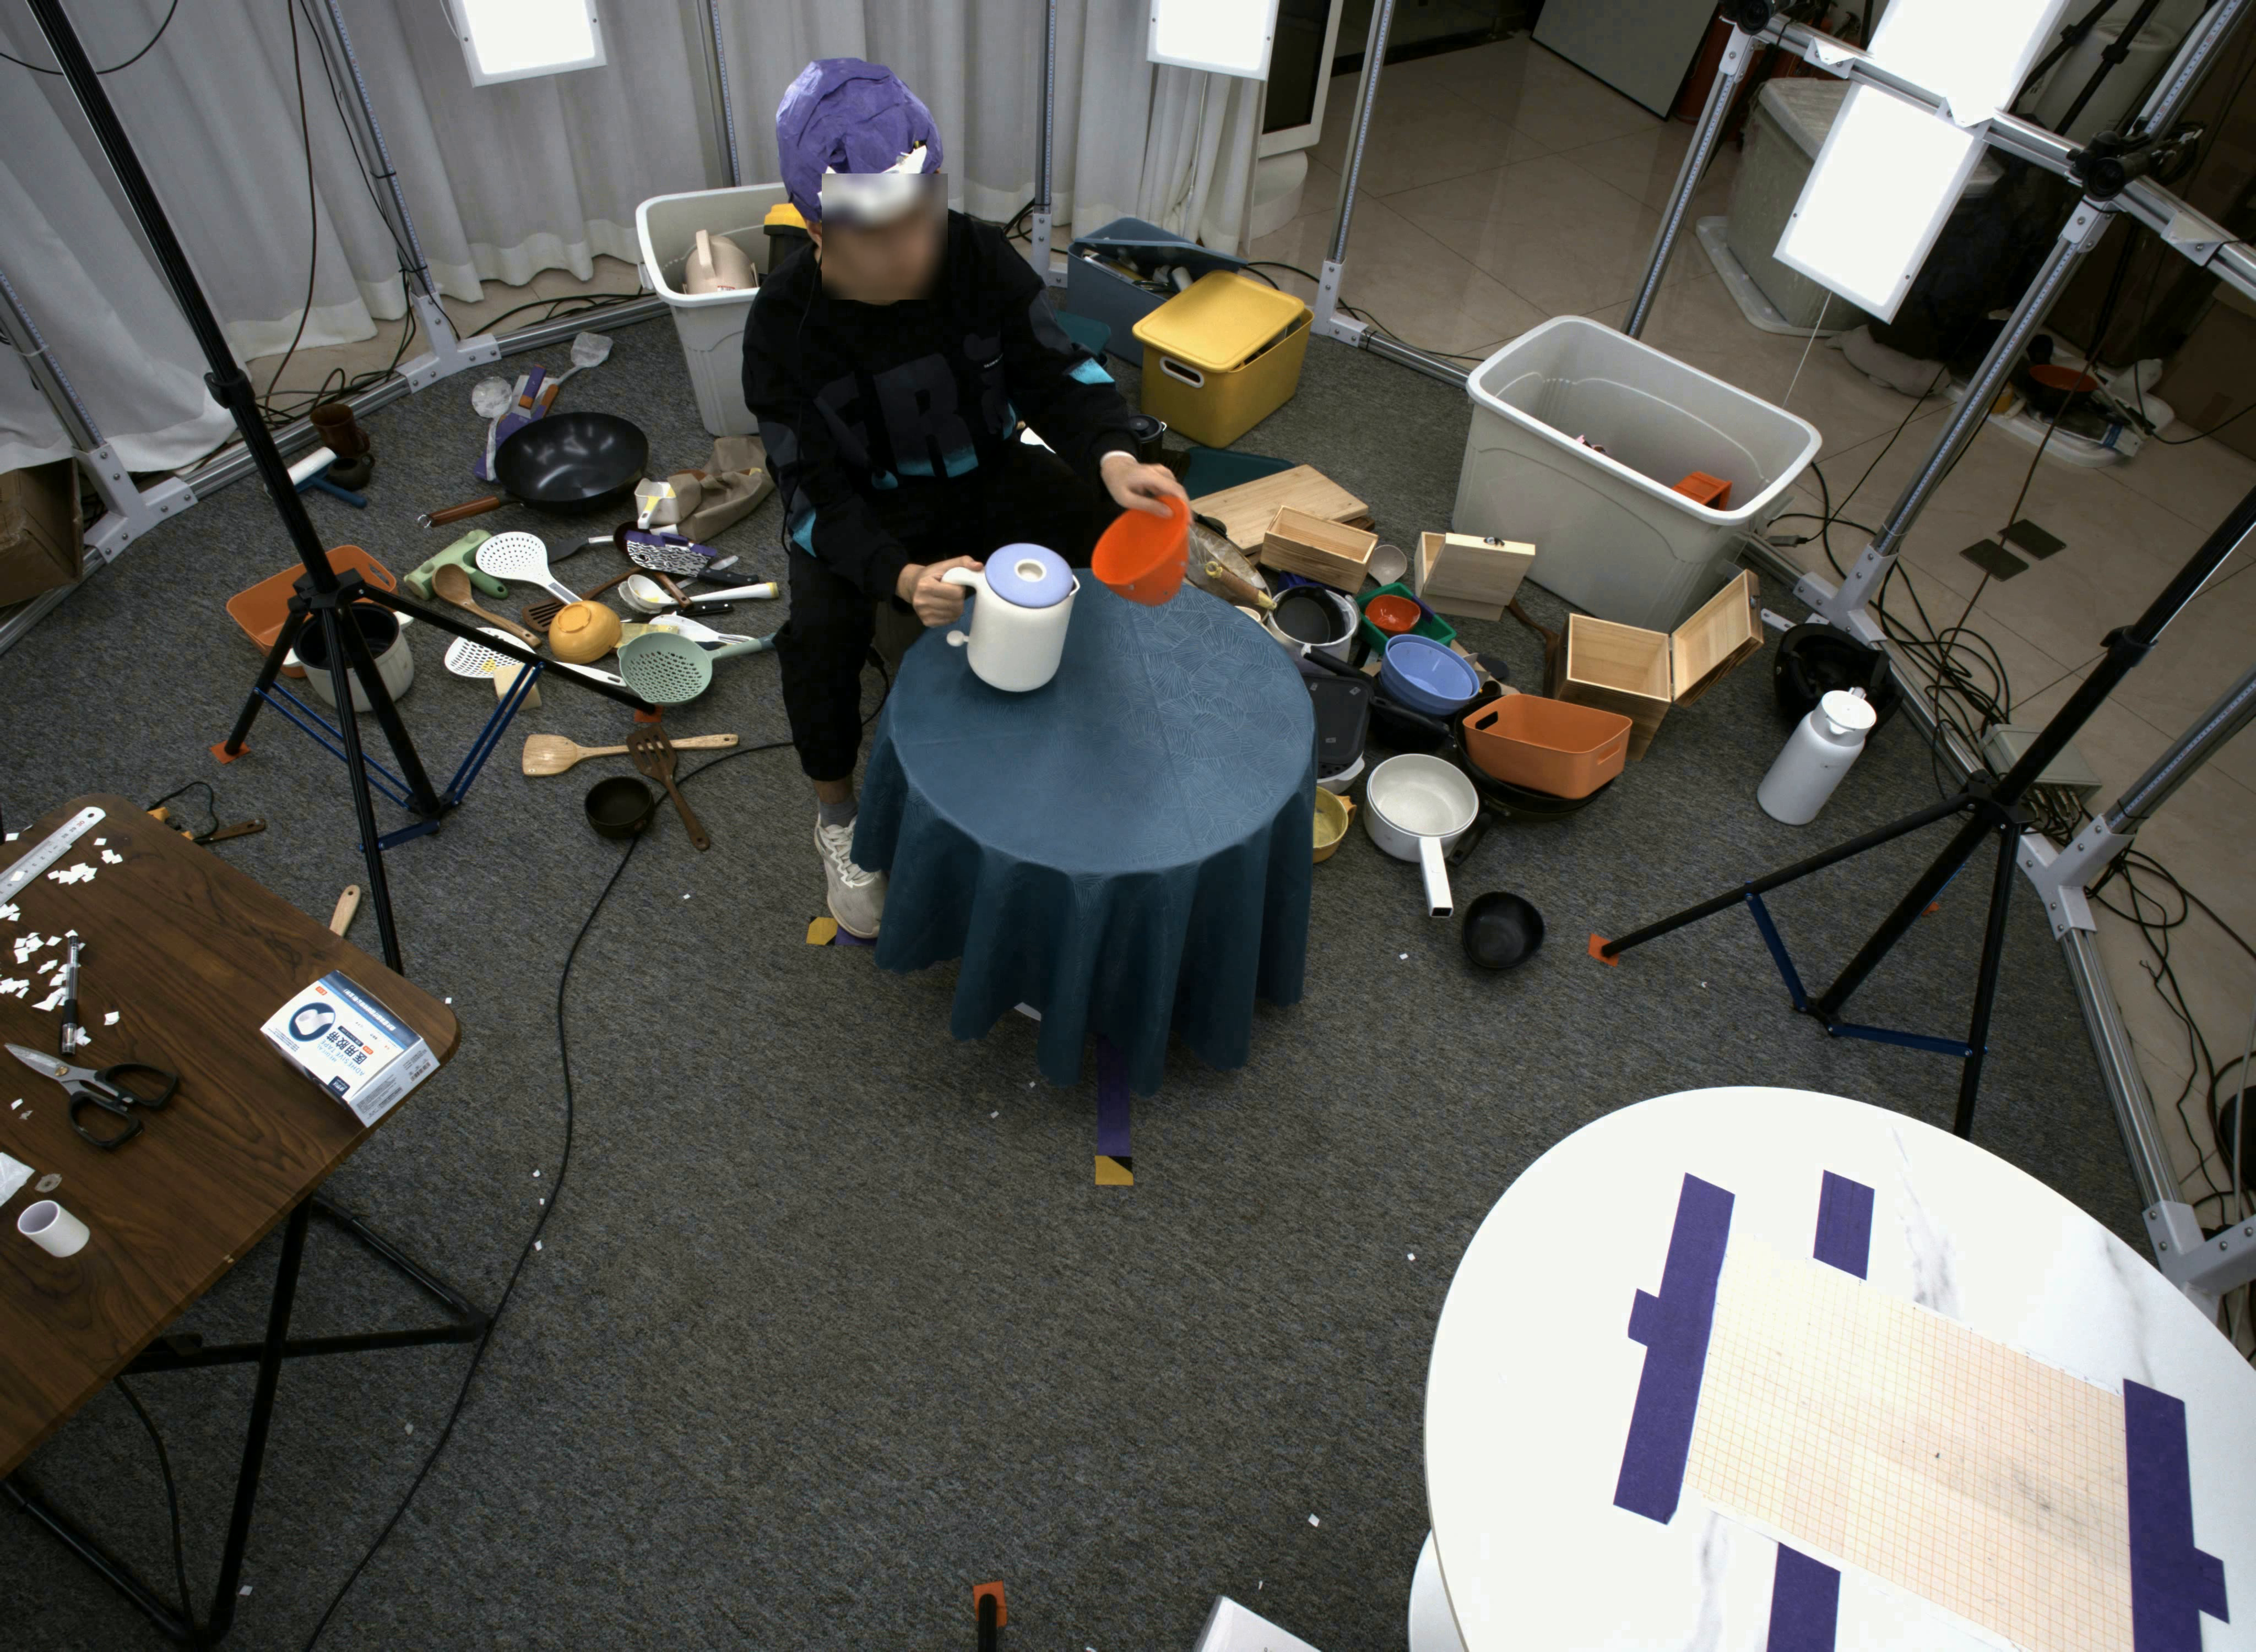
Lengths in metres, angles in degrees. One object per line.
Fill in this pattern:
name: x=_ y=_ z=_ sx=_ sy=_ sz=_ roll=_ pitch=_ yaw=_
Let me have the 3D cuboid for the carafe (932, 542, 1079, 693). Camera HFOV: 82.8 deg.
carafe: x=-0.170 y=-0.288 z=1.760 sx=0.191 sy=0.178 sz=0.135 roll=8 pitch=51 yaw=-4

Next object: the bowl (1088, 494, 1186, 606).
bowl: x=0.027 y=-0.347 z=1.676 sx=0.147 sy=0.102 sz=0.152 roll=-18 pitch=47 yaw=20
